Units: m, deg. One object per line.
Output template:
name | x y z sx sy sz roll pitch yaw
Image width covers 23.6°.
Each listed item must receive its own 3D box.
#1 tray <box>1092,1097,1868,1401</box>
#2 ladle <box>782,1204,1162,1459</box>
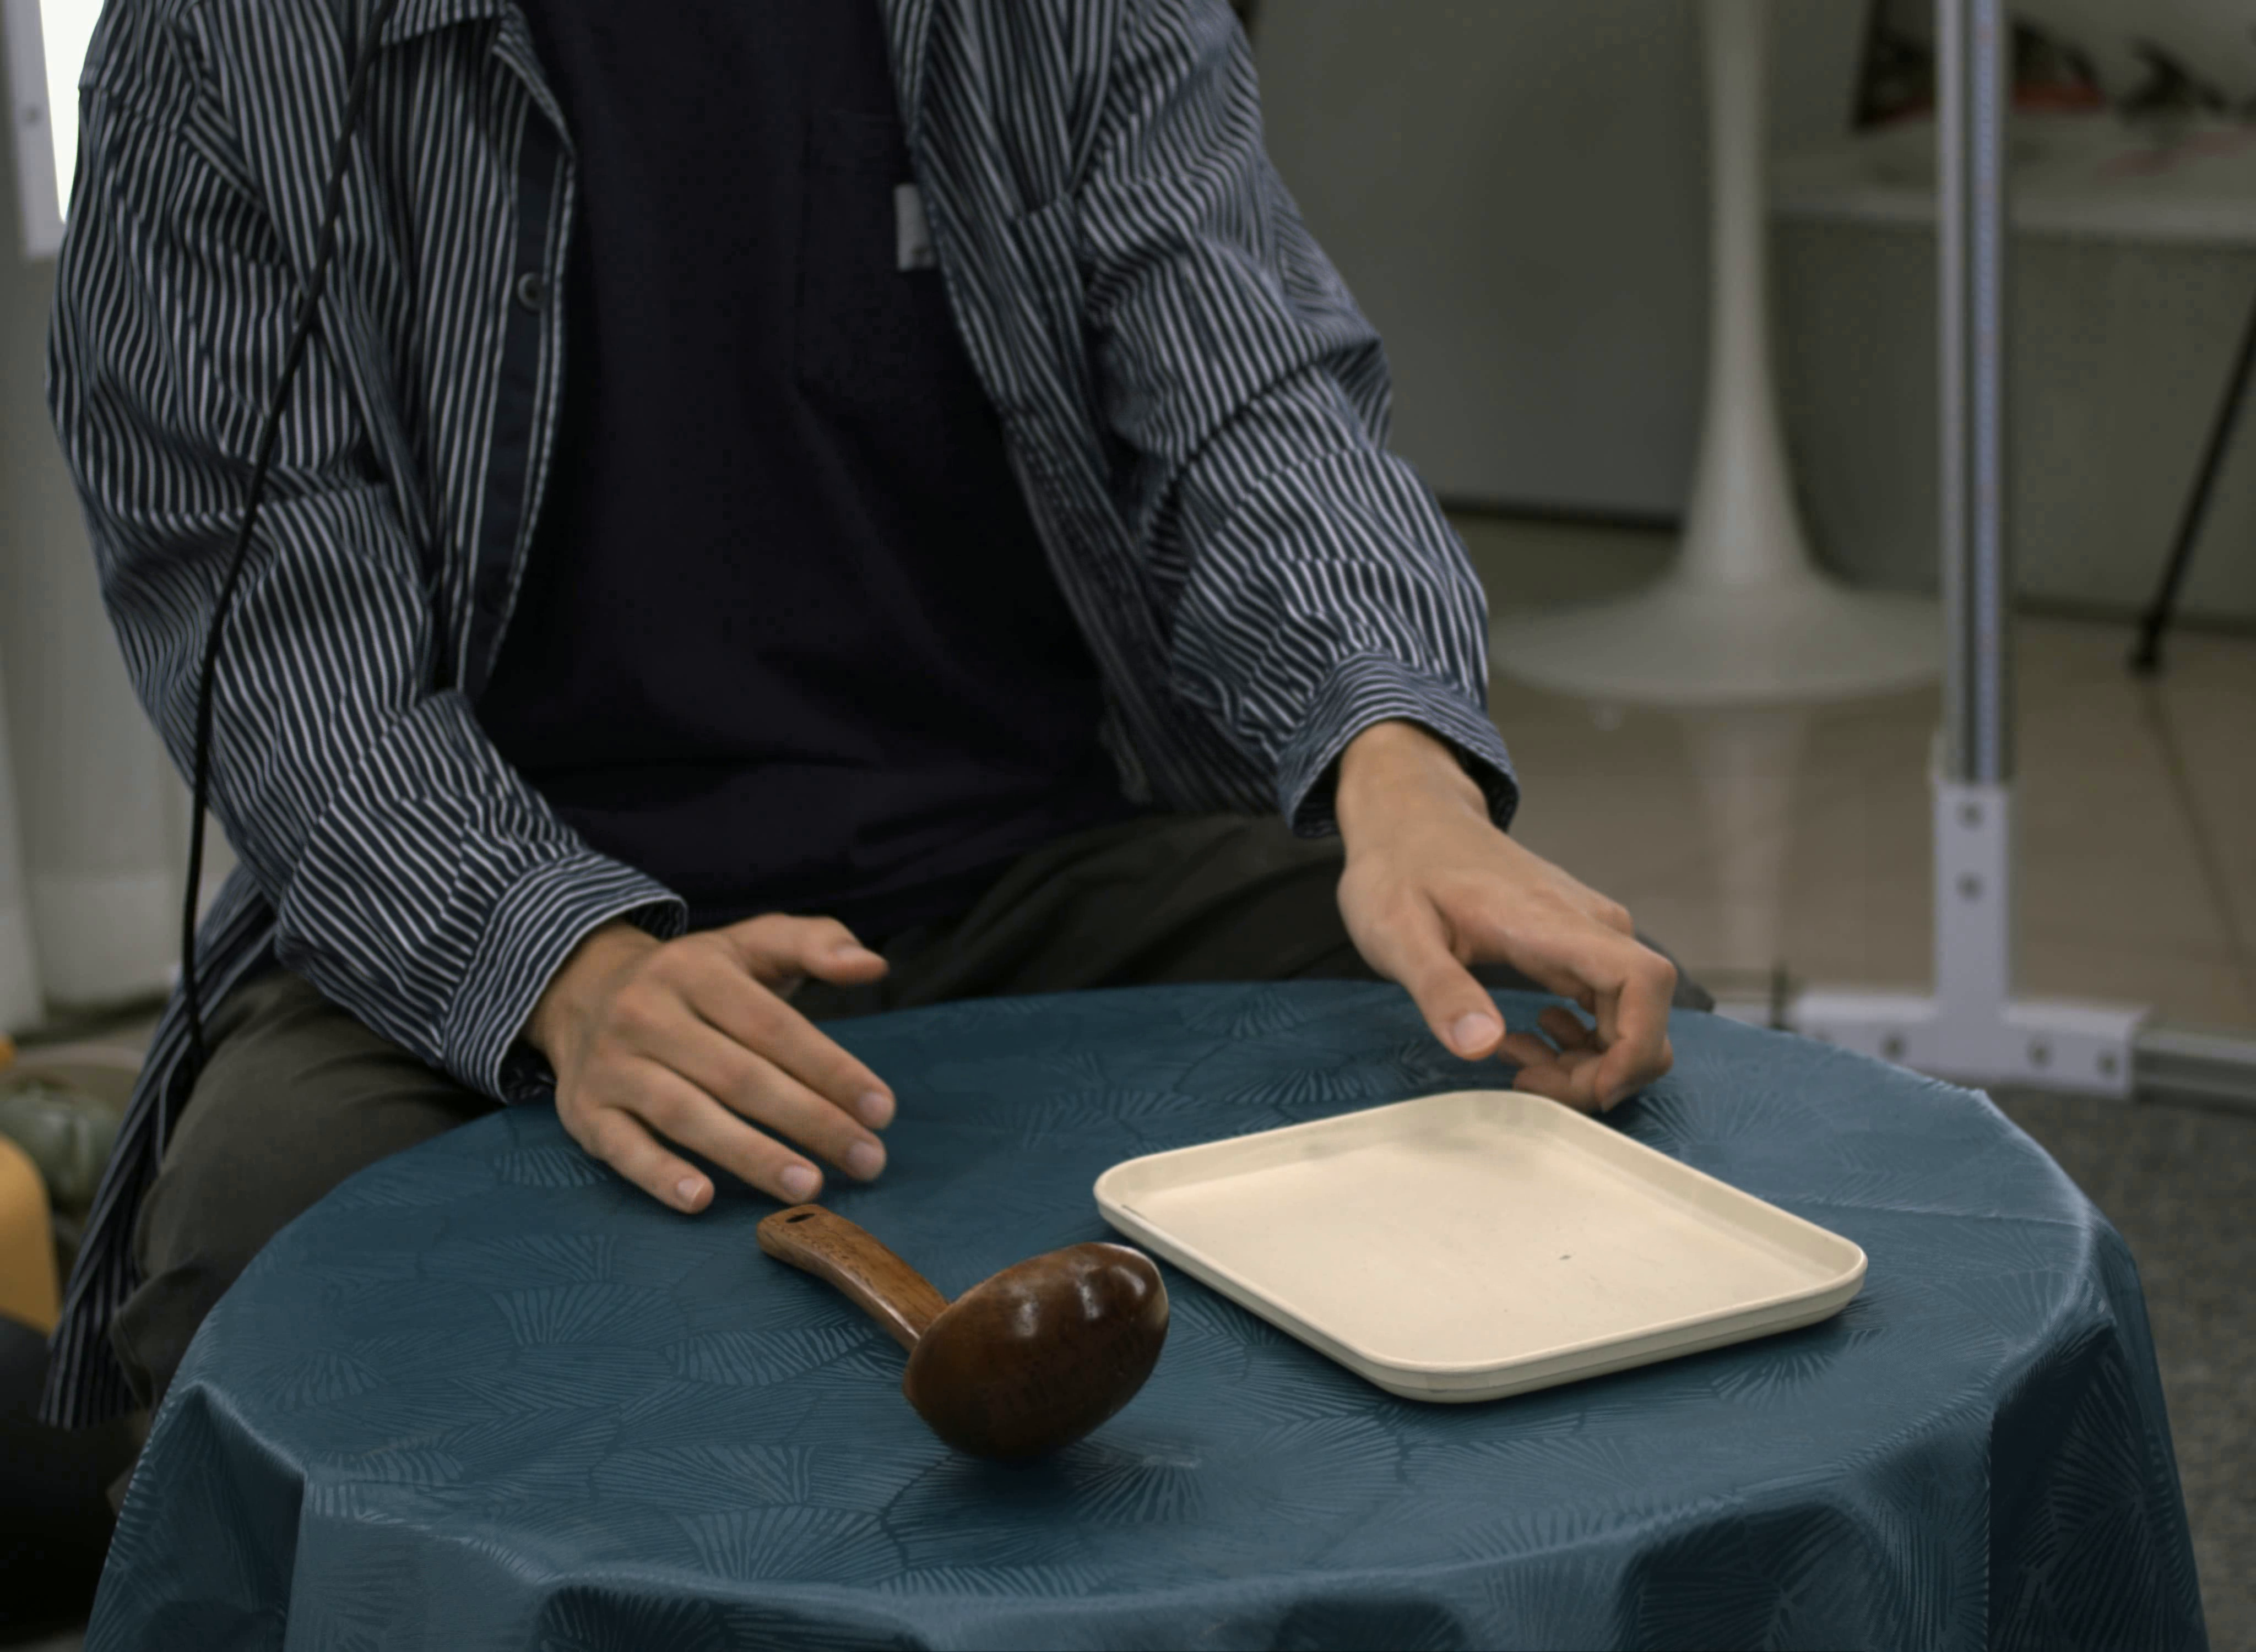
tray | 0.105 0.130 1.667 0.167 0.017 0.242 -10 14 -24
ladle | -0.064 0.126 1.606 0.080 0.077 0.276 -12 16 -17
